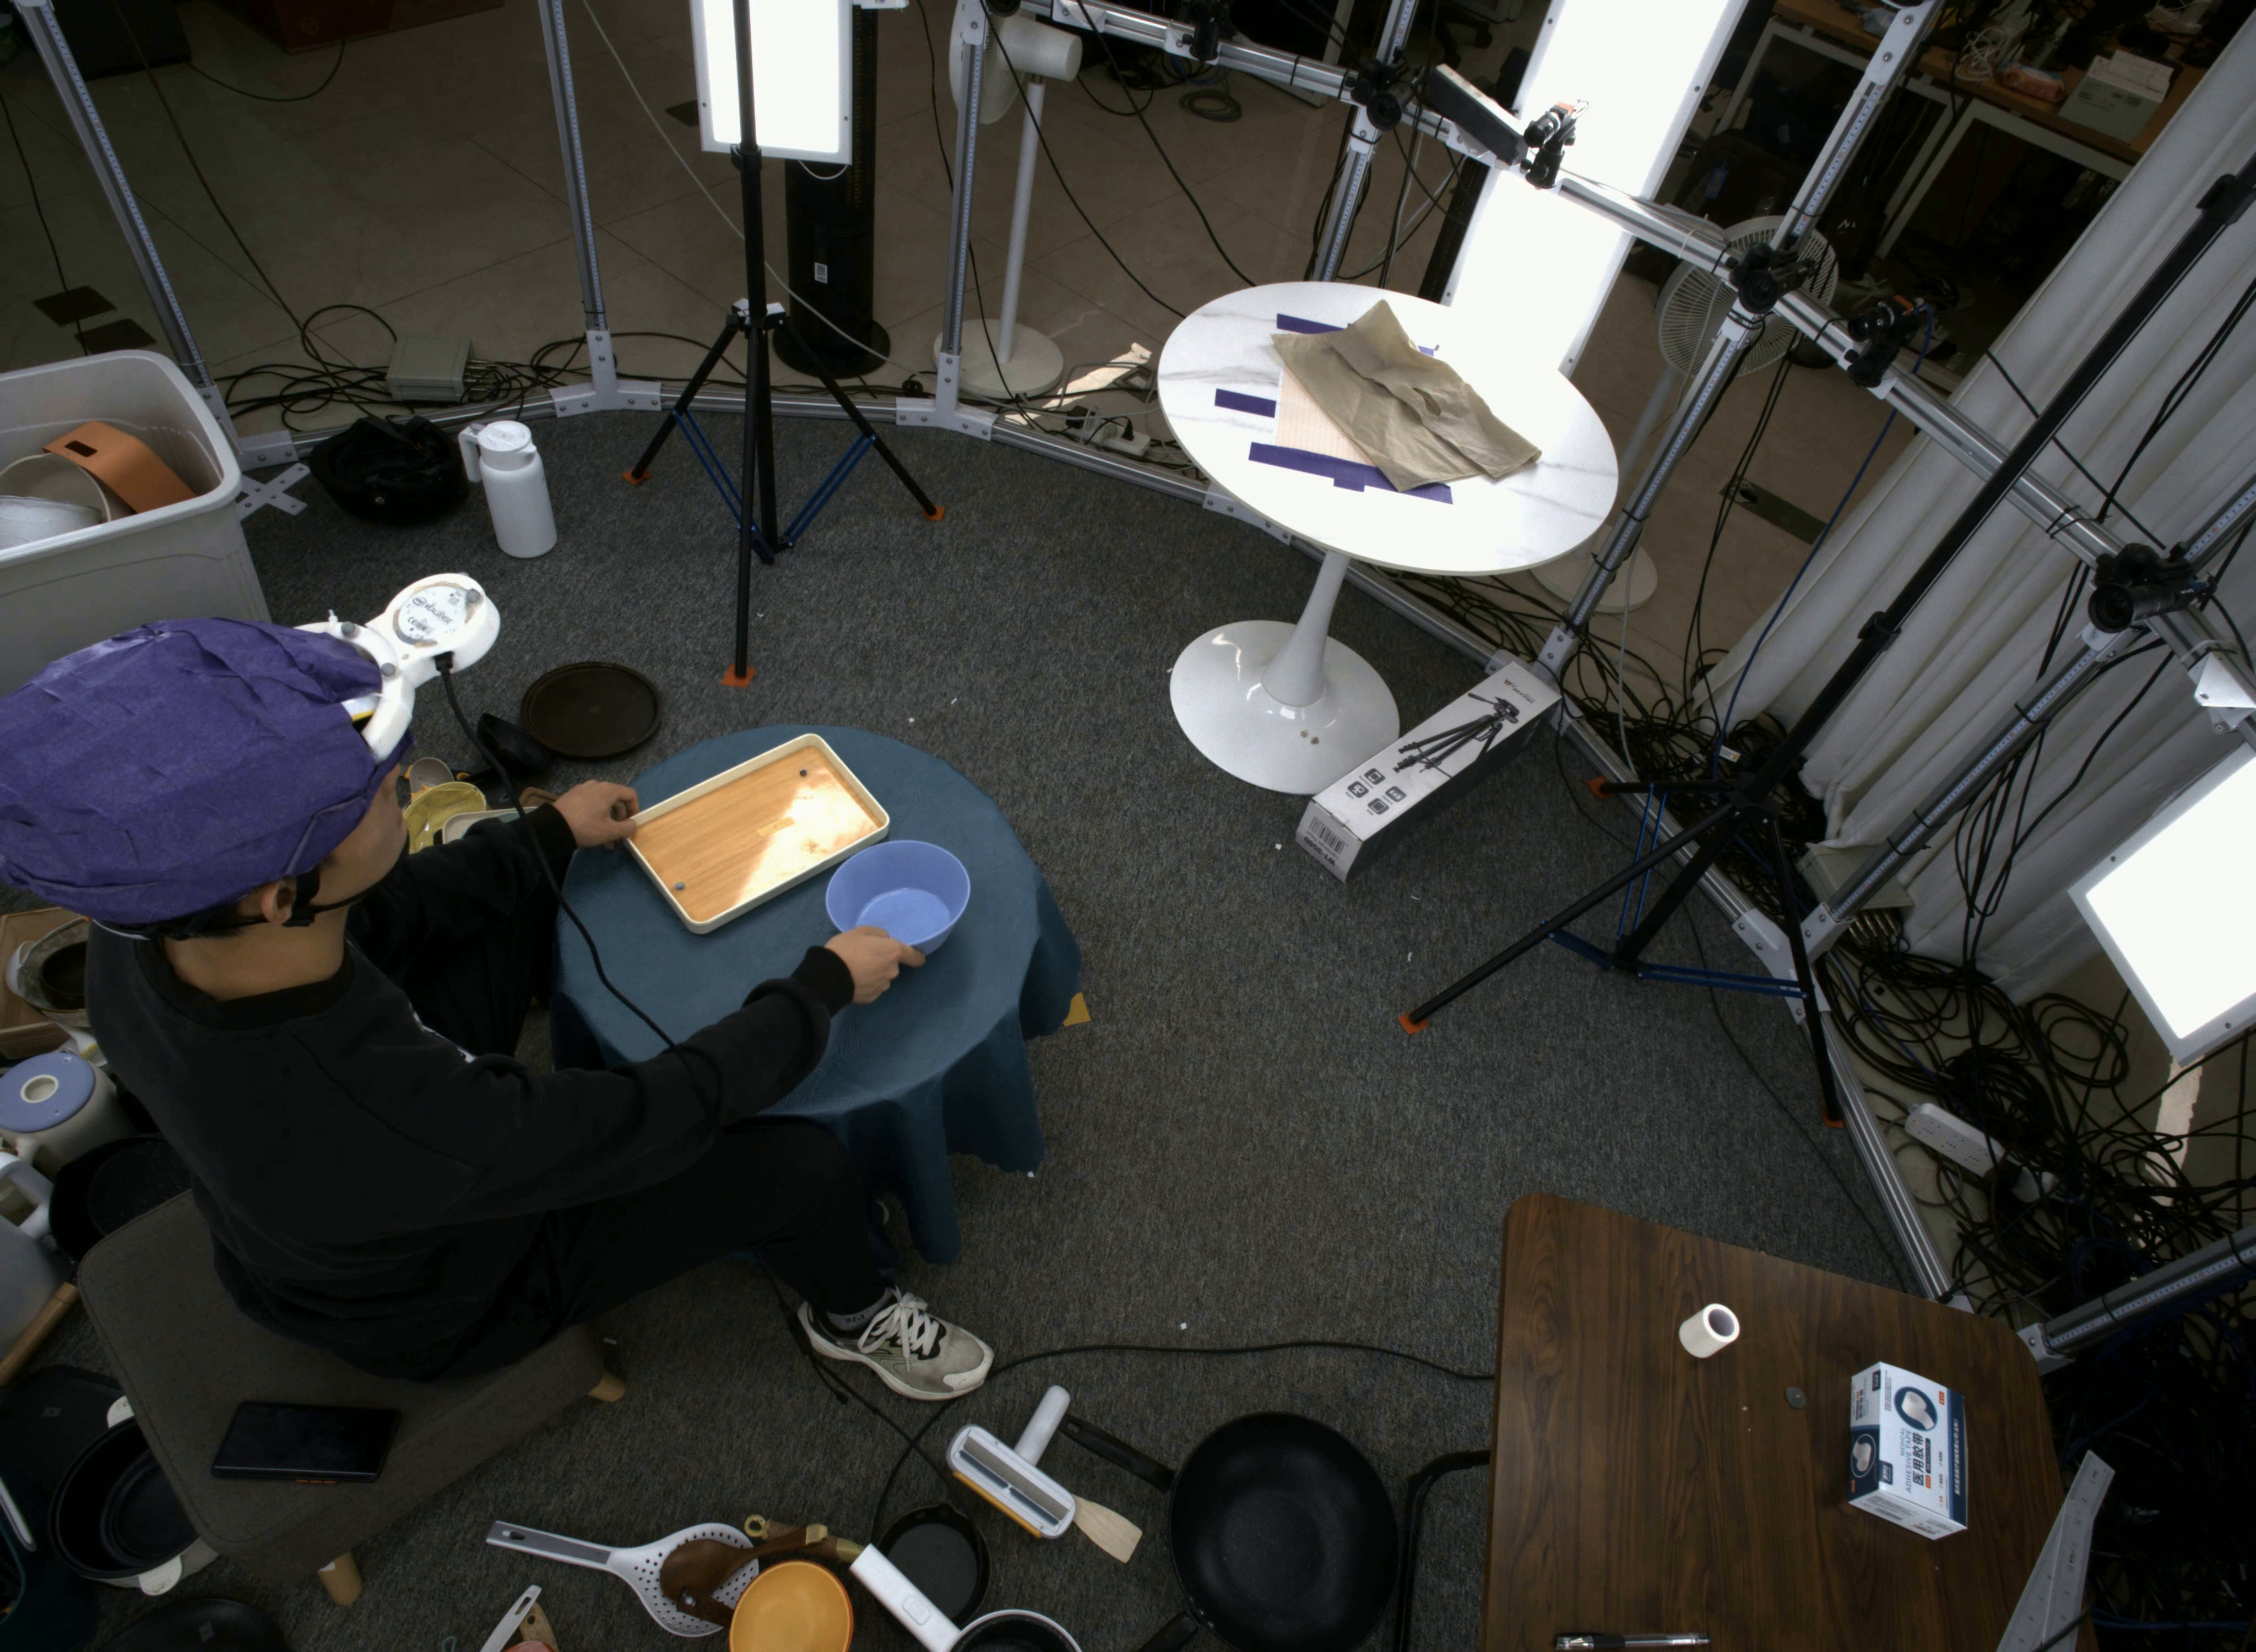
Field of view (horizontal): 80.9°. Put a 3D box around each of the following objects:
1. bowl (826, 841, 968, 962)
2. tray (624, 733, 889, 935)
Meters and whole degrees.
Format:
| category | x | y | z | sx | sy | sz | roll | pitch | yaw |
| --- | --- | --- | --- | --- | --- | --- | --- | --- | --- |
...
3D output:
| category | x | y | z | sx | sy | sz | roll | pitch | yaw |
| --- | --- | --- | --- | --- | --- | --- | --- | --- | --- |
| bowl | -0.283 | 0.102 | 1.618 | 0.174 | 0.072 | 0.172 | 2 | 45 | -1 |
| tray | -0.482 | 0.003 | 1.688 | 0.301 | 0.028 | 0.187 | -31 | 69 | -33 |
